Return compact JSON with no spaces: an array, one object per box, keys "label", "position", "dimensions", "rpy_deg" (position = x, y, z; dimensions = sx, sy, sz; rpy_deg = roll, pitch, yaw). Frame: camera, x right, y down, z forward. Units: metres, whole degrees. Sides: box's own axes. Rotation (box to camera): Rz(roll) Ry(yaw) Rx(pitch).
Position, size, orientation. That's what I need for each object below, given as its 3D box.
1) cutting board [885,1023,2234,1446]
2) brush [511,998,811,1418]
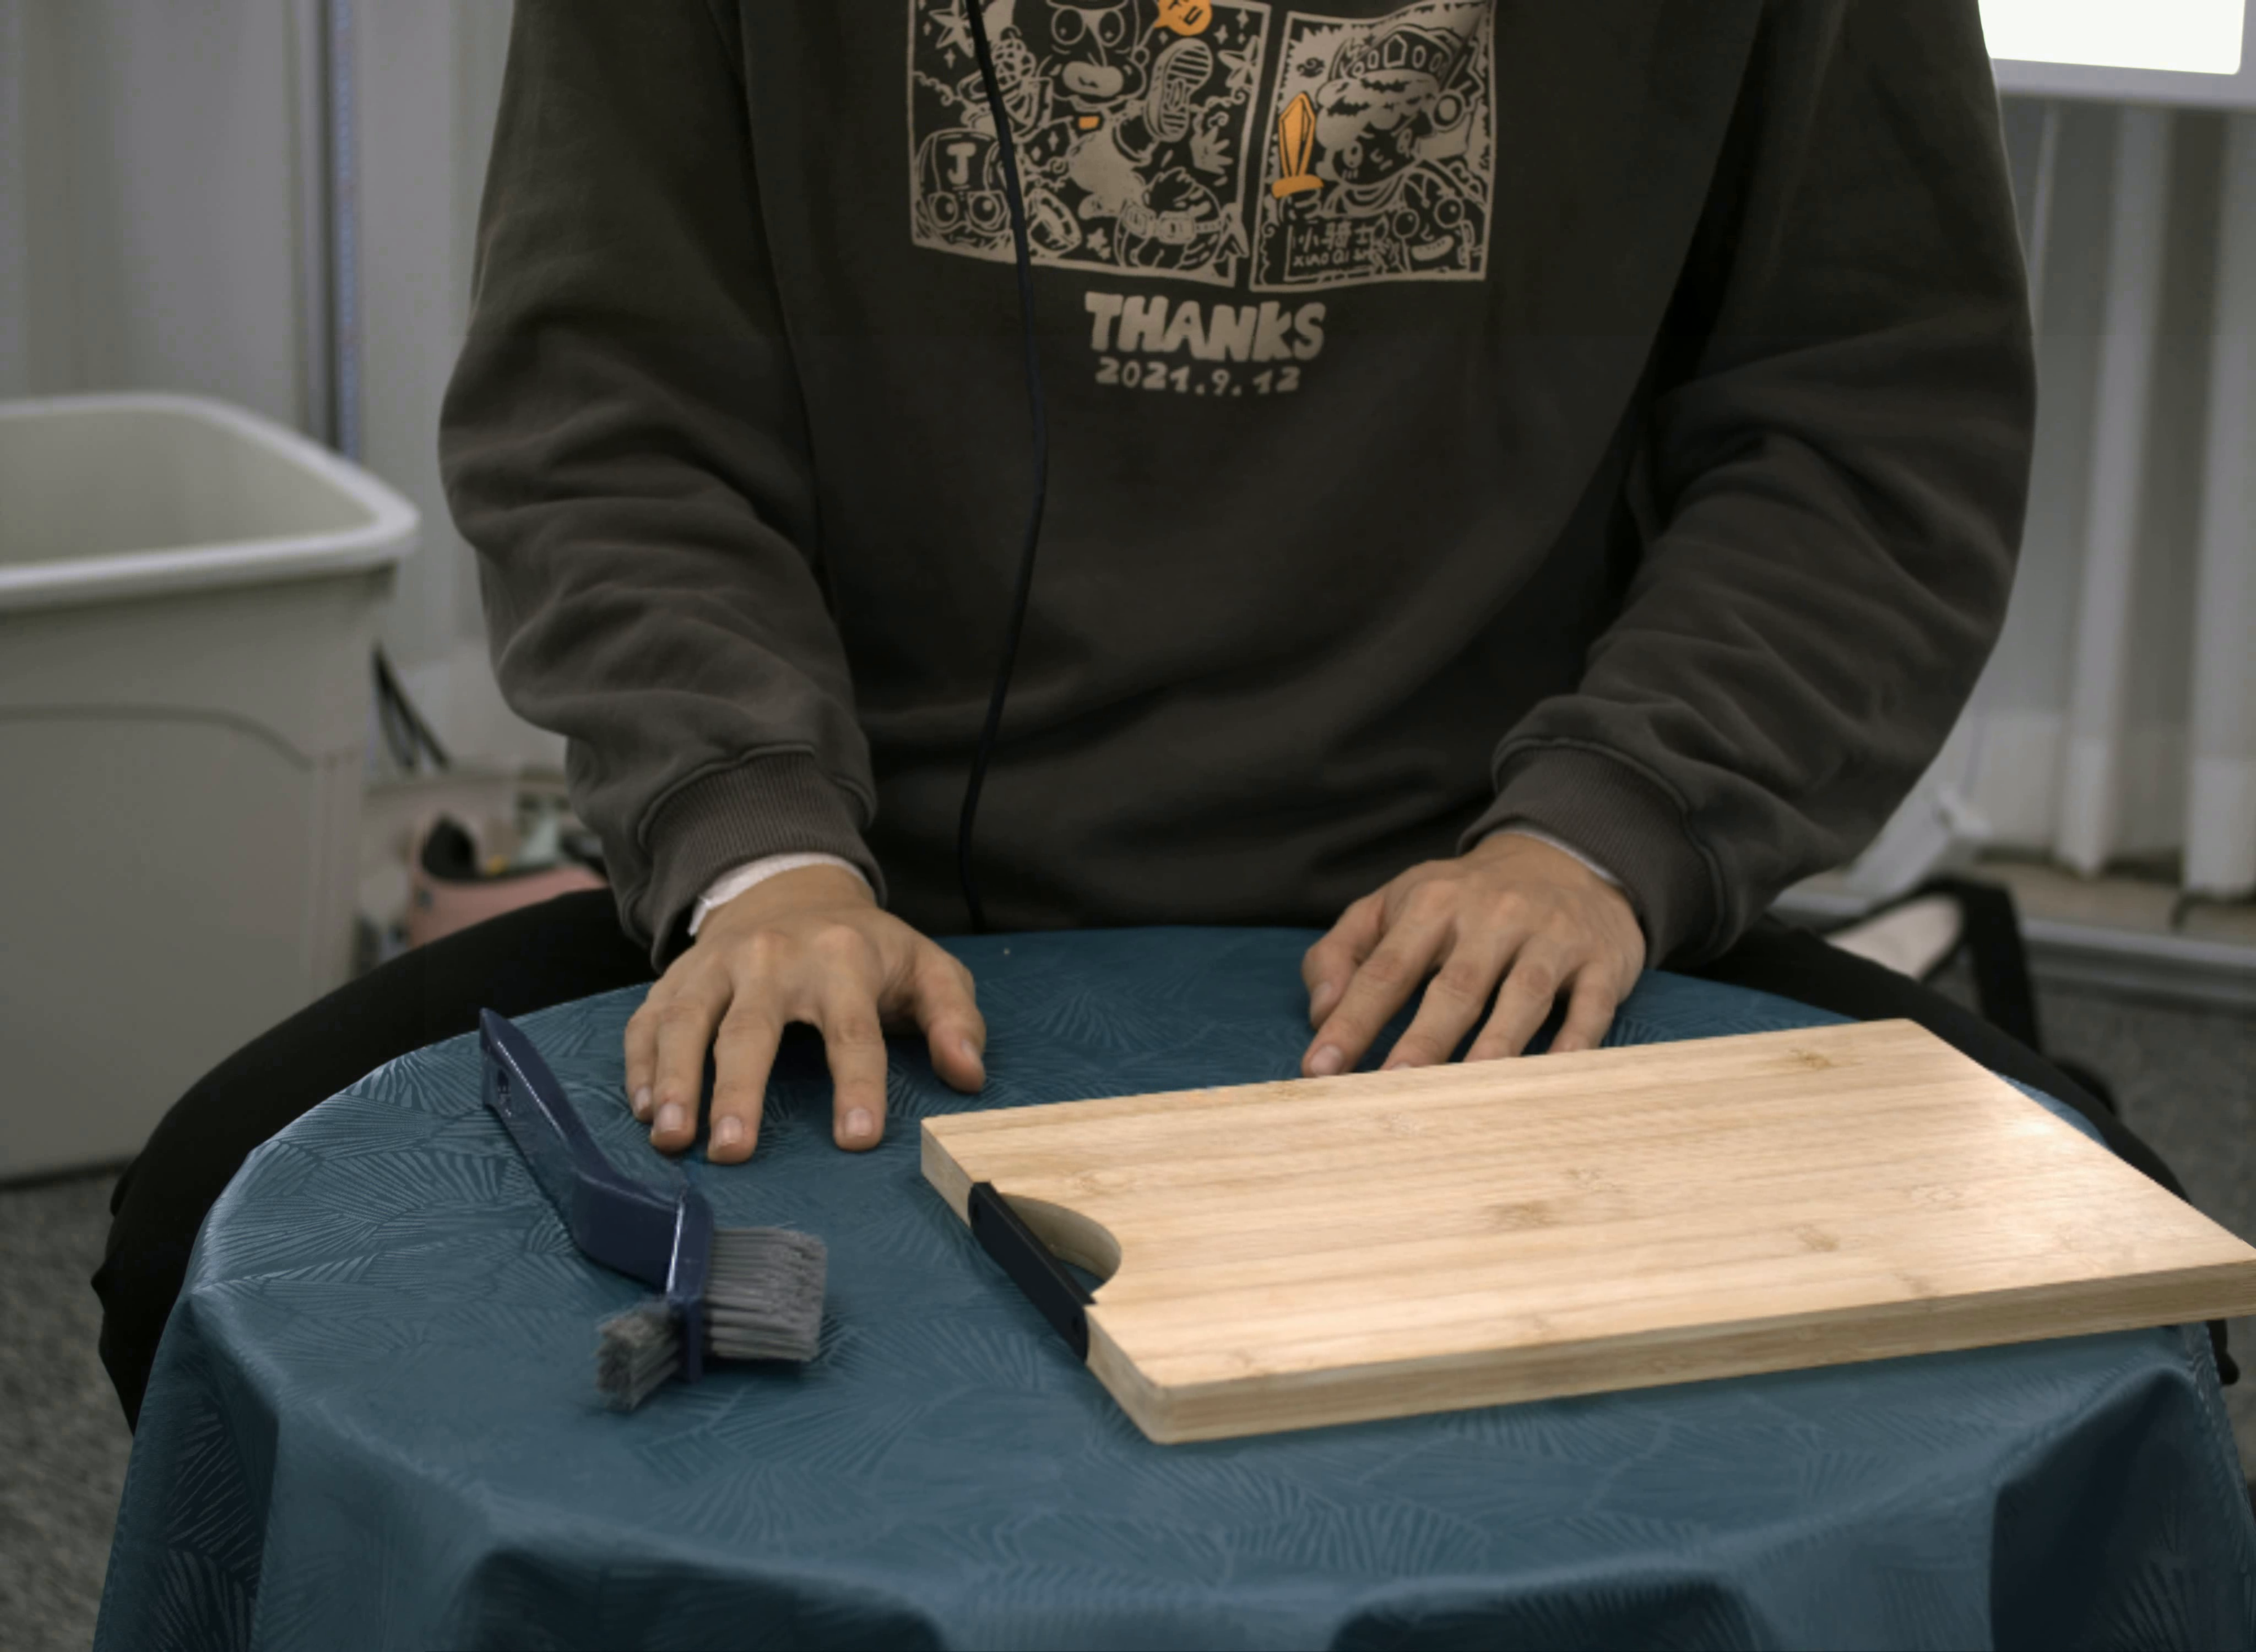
[{"label":"cutting board","position":[0.125,0.118,1.587],"dimensions":[0.349,0.024,0.248],"rpy_deg":[-5,16,-19]},{"label":"brush","position":[-0.167,0.110,1.576],"dimensions":[0.096,0.034,0.270],"rpy_deg":[-7,18,-25]}]
